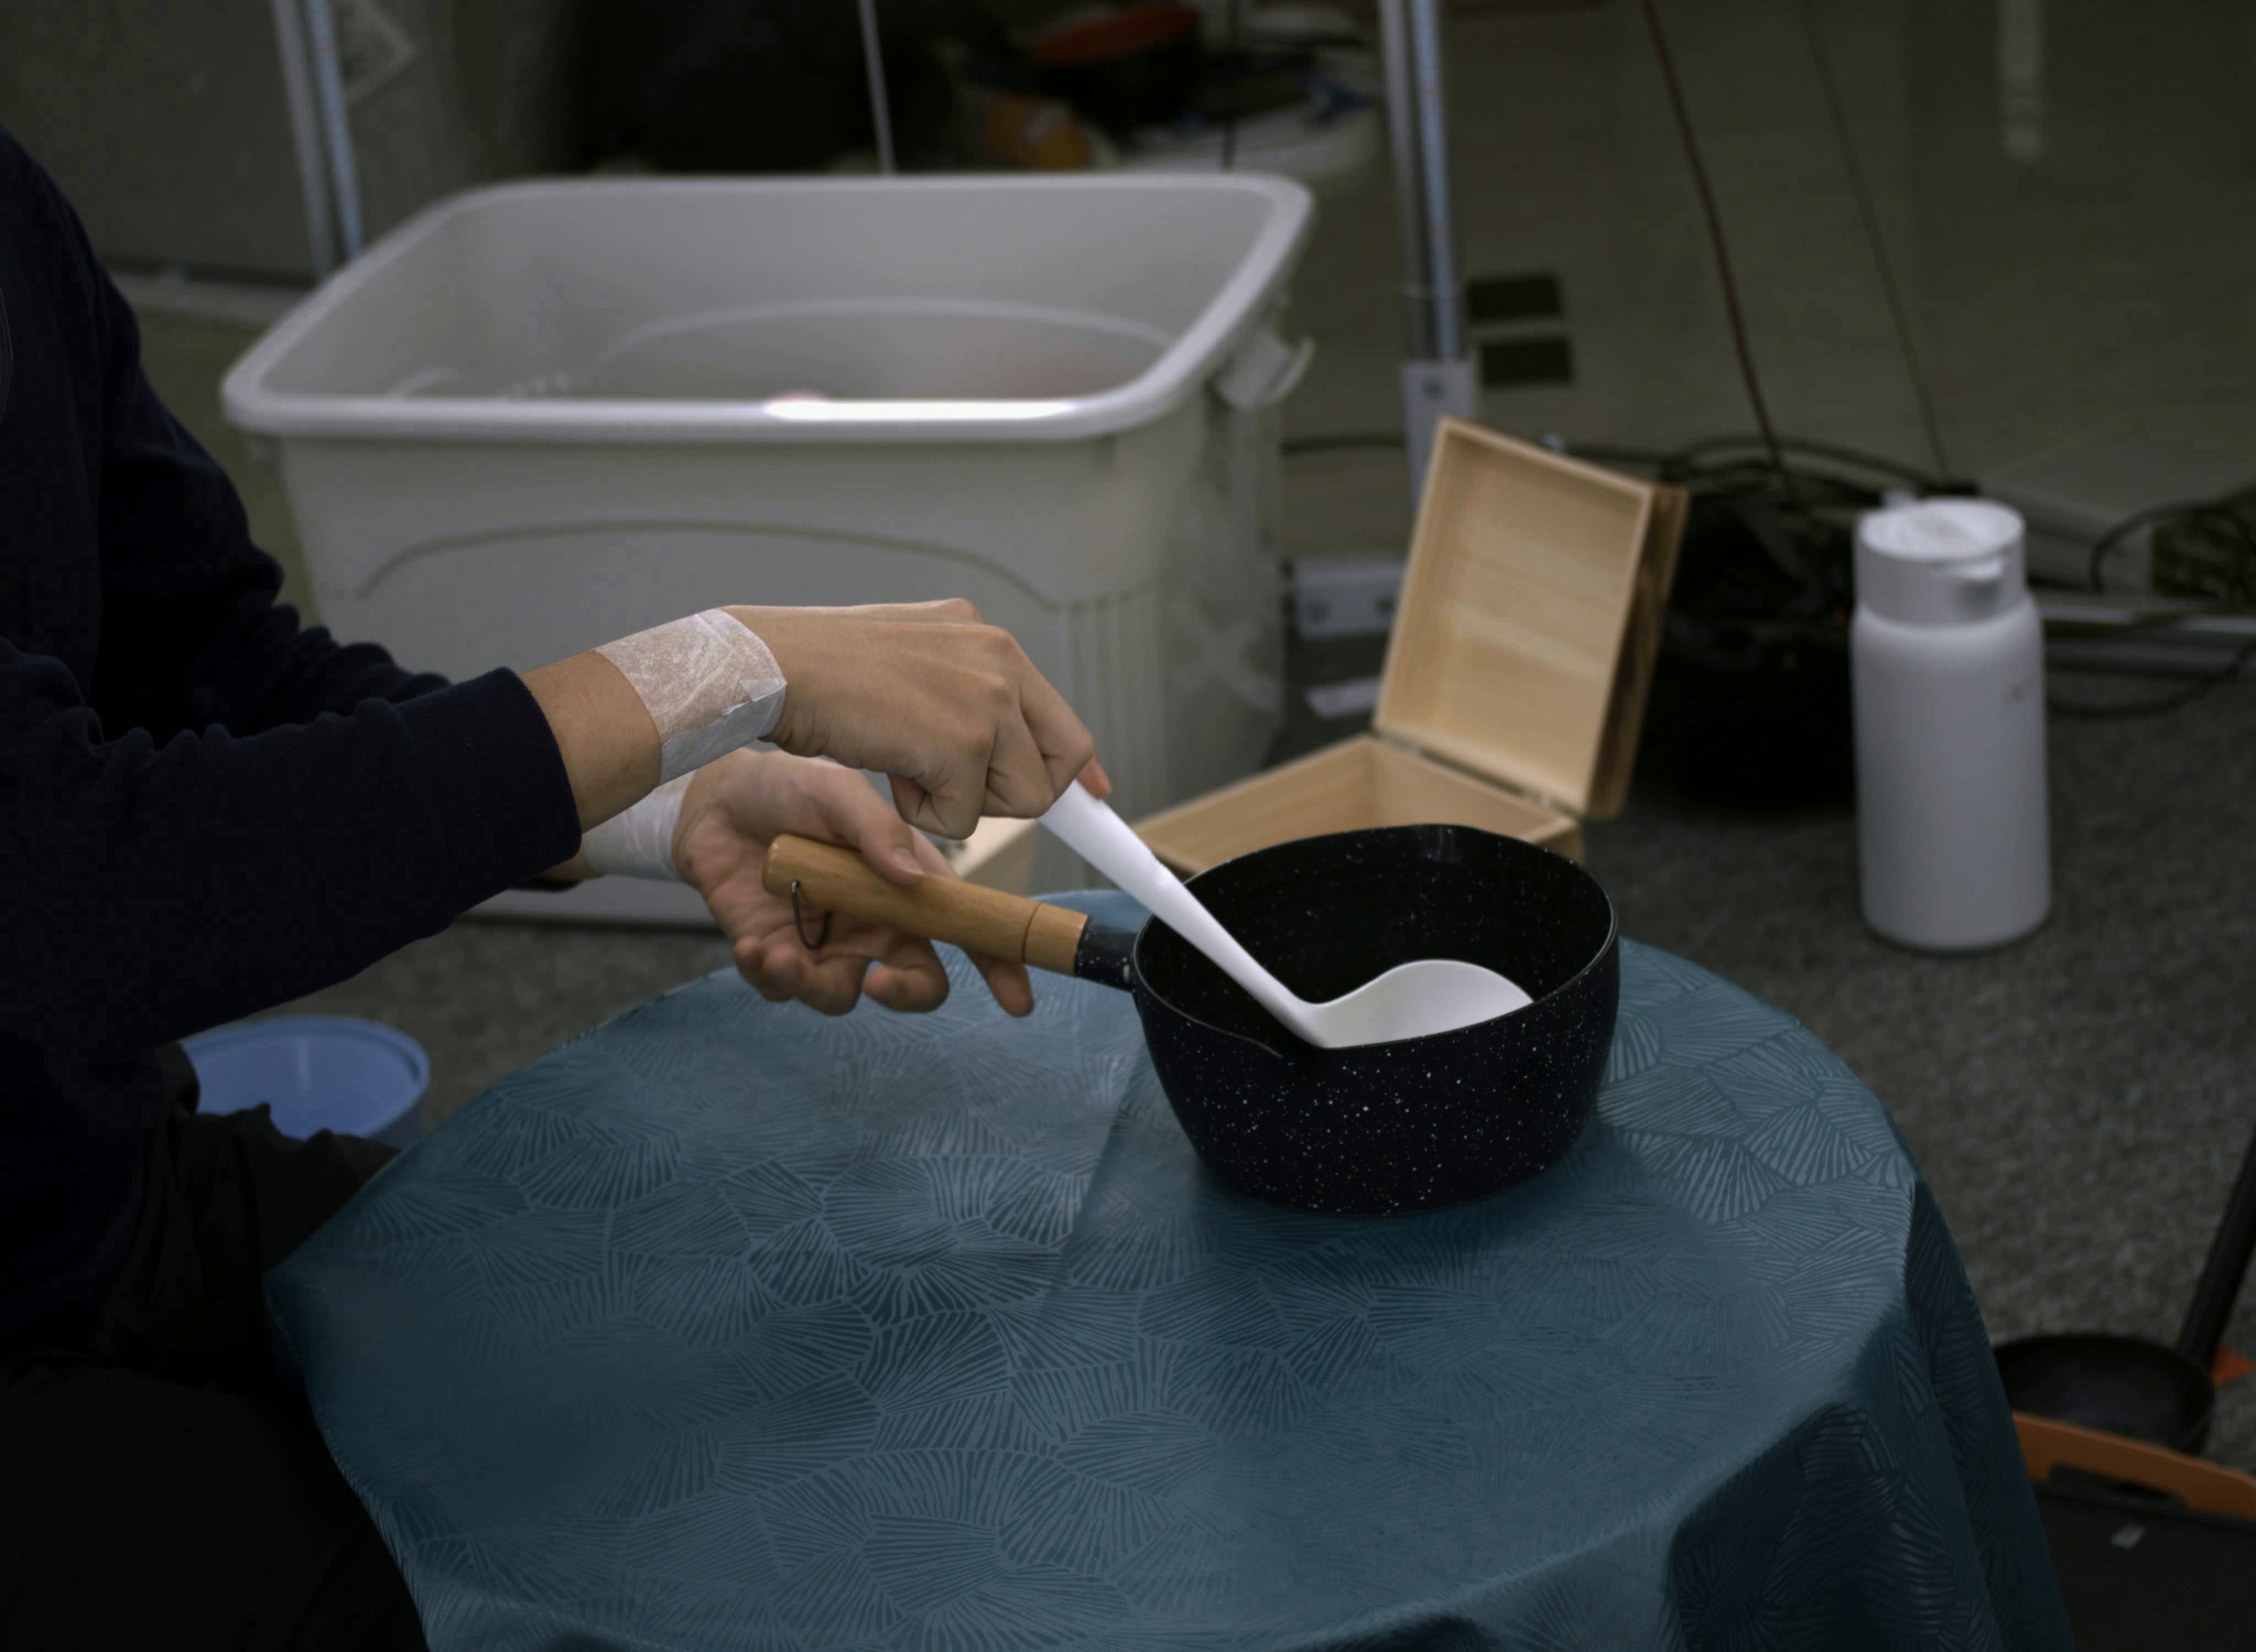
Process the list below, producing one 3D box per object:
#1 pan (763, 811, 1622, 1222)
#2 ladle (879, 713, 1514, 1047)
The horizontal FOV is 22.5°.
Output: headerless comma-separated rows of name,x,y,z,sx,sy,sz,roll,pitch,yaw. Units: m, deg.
pan,0.021,0.063,2.175,0.342,0.110,0.204,4,28,18
ladle,0.038,0.036,2.095,0.070,0.296,0.088,-33,37,33
